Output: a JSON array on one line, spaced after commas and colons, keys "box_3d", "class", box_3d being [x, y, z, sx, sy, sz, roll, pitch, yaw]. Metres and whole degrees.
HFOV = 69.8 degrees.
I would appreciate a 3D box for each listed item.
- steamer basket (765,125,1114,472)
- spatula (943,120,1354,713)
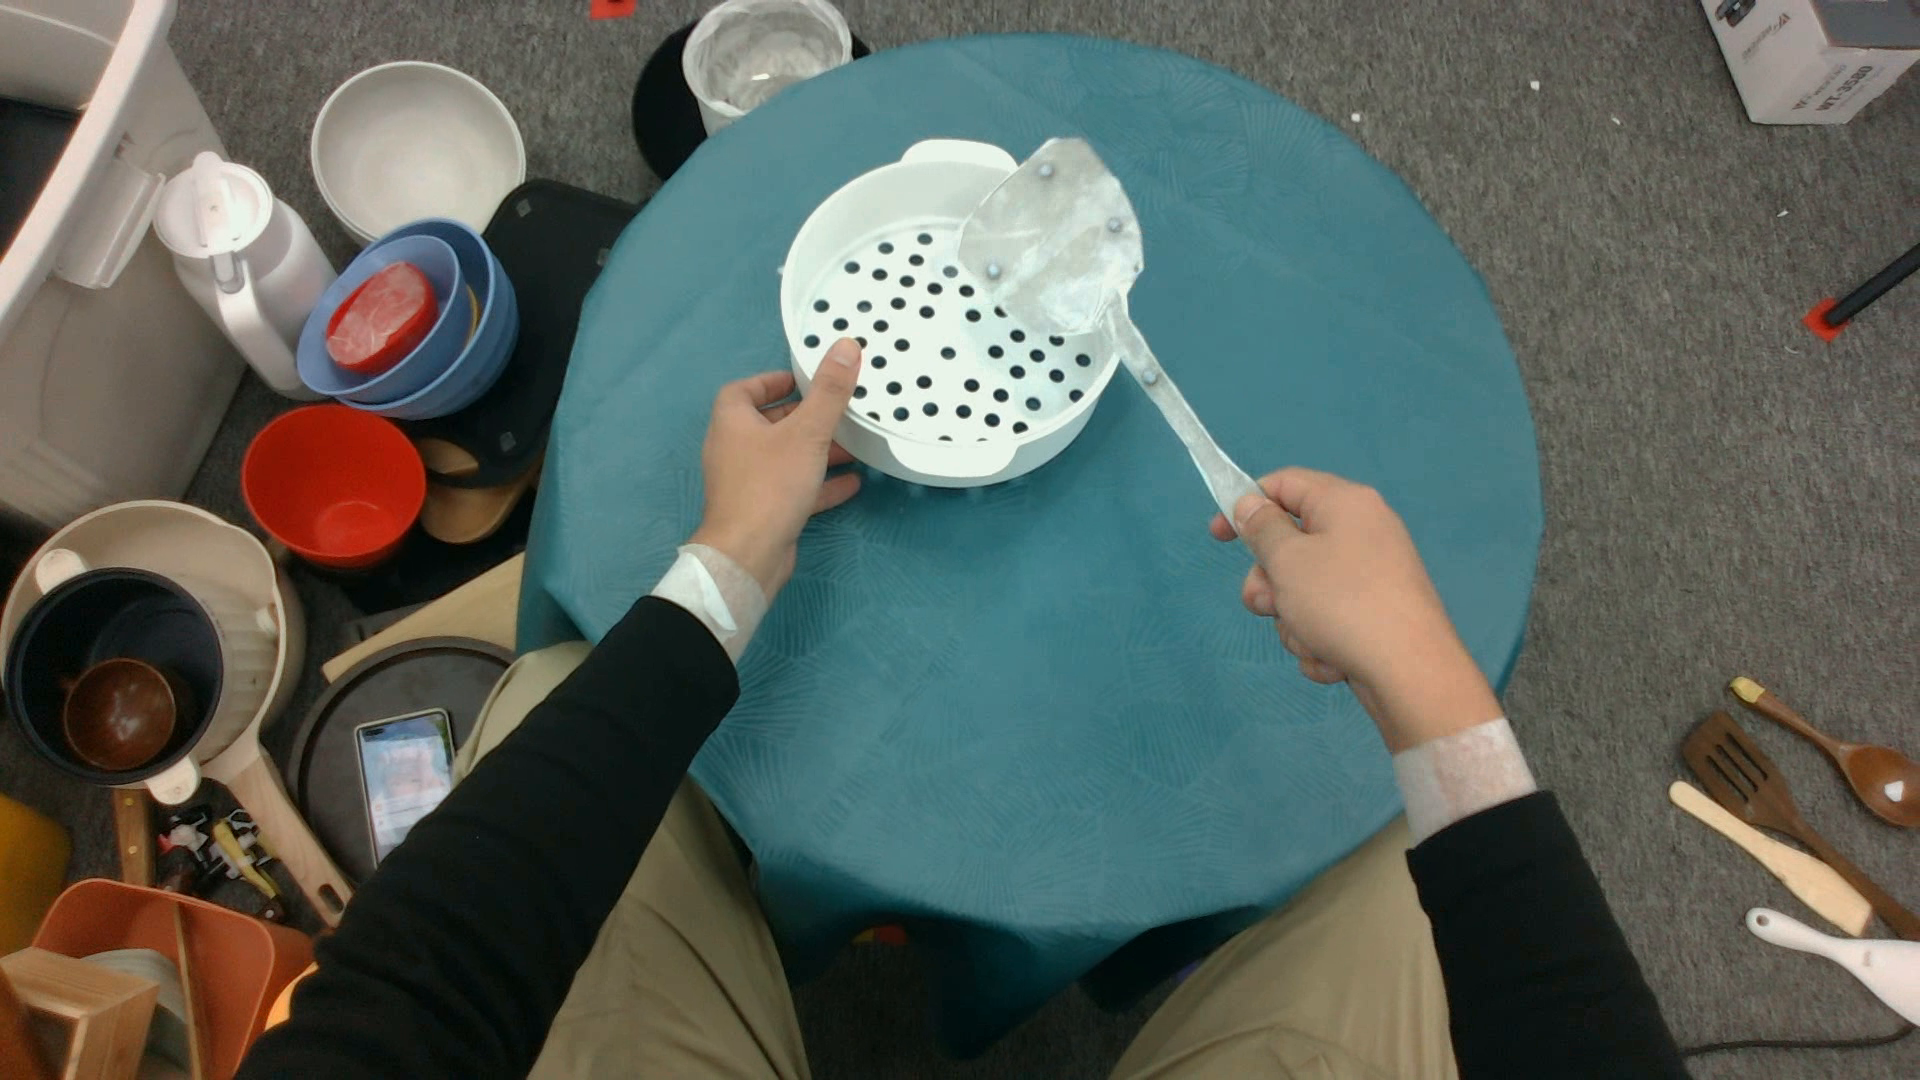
[{"box_3d": [-0.013, -0.137, 0.819, 0.202, 0.069, 0.231, 3, 66, -4], "class": "steamer basket"}, {"box_3d": [0.101, -0.073, 0.701, 0.098, 0.045, 0.366, -33, 58, 10], "class": "spatula"}]
